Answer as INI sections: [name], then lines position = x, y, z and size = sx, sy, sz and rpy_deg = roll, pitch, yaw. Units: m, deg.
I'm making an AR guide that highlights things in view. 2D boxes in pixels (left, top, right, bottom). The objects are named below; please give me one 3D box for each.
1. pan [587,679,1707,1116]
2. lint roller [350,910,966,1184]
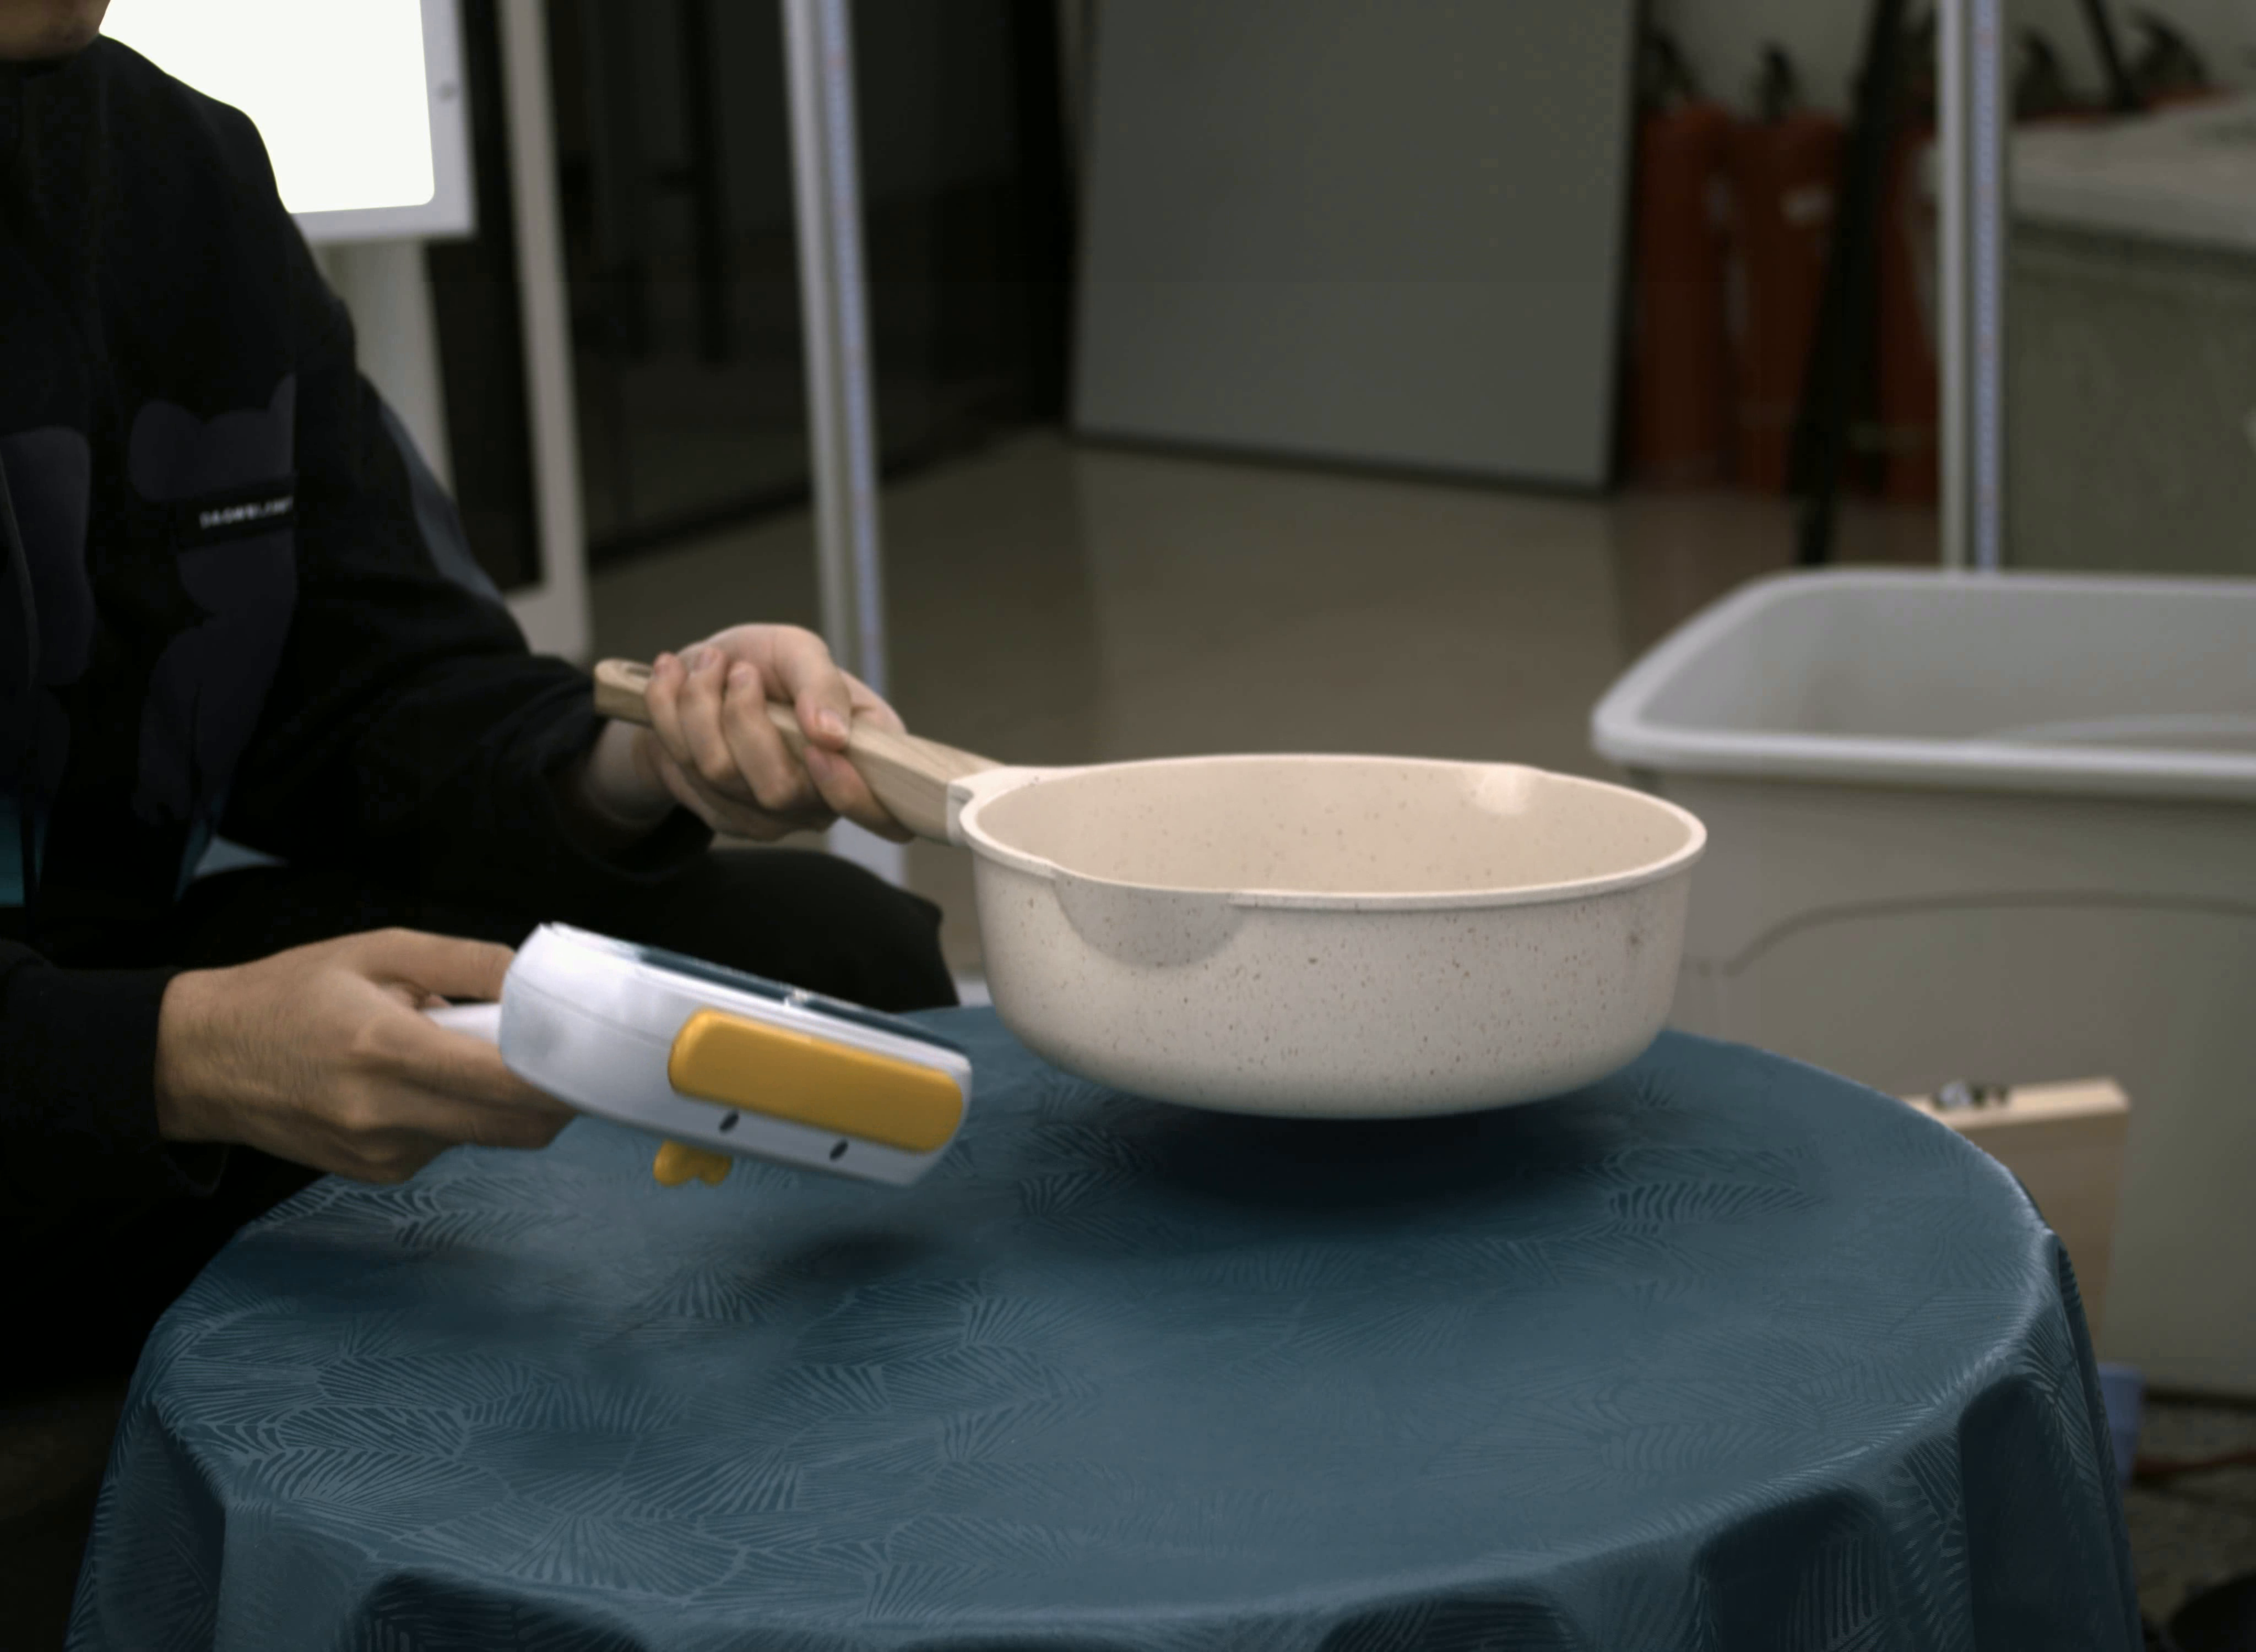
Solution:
[pan]
position = -0.008, 0.018, 1.858
size = 0.437, 0.103, 0.259
rpy_deg = 7, 14, 32
[lint roller]
position = -0.170, 0.068, 1.711
size = 0.194, 0.075, 0.189
rpy_deg = 11, -1, 40
